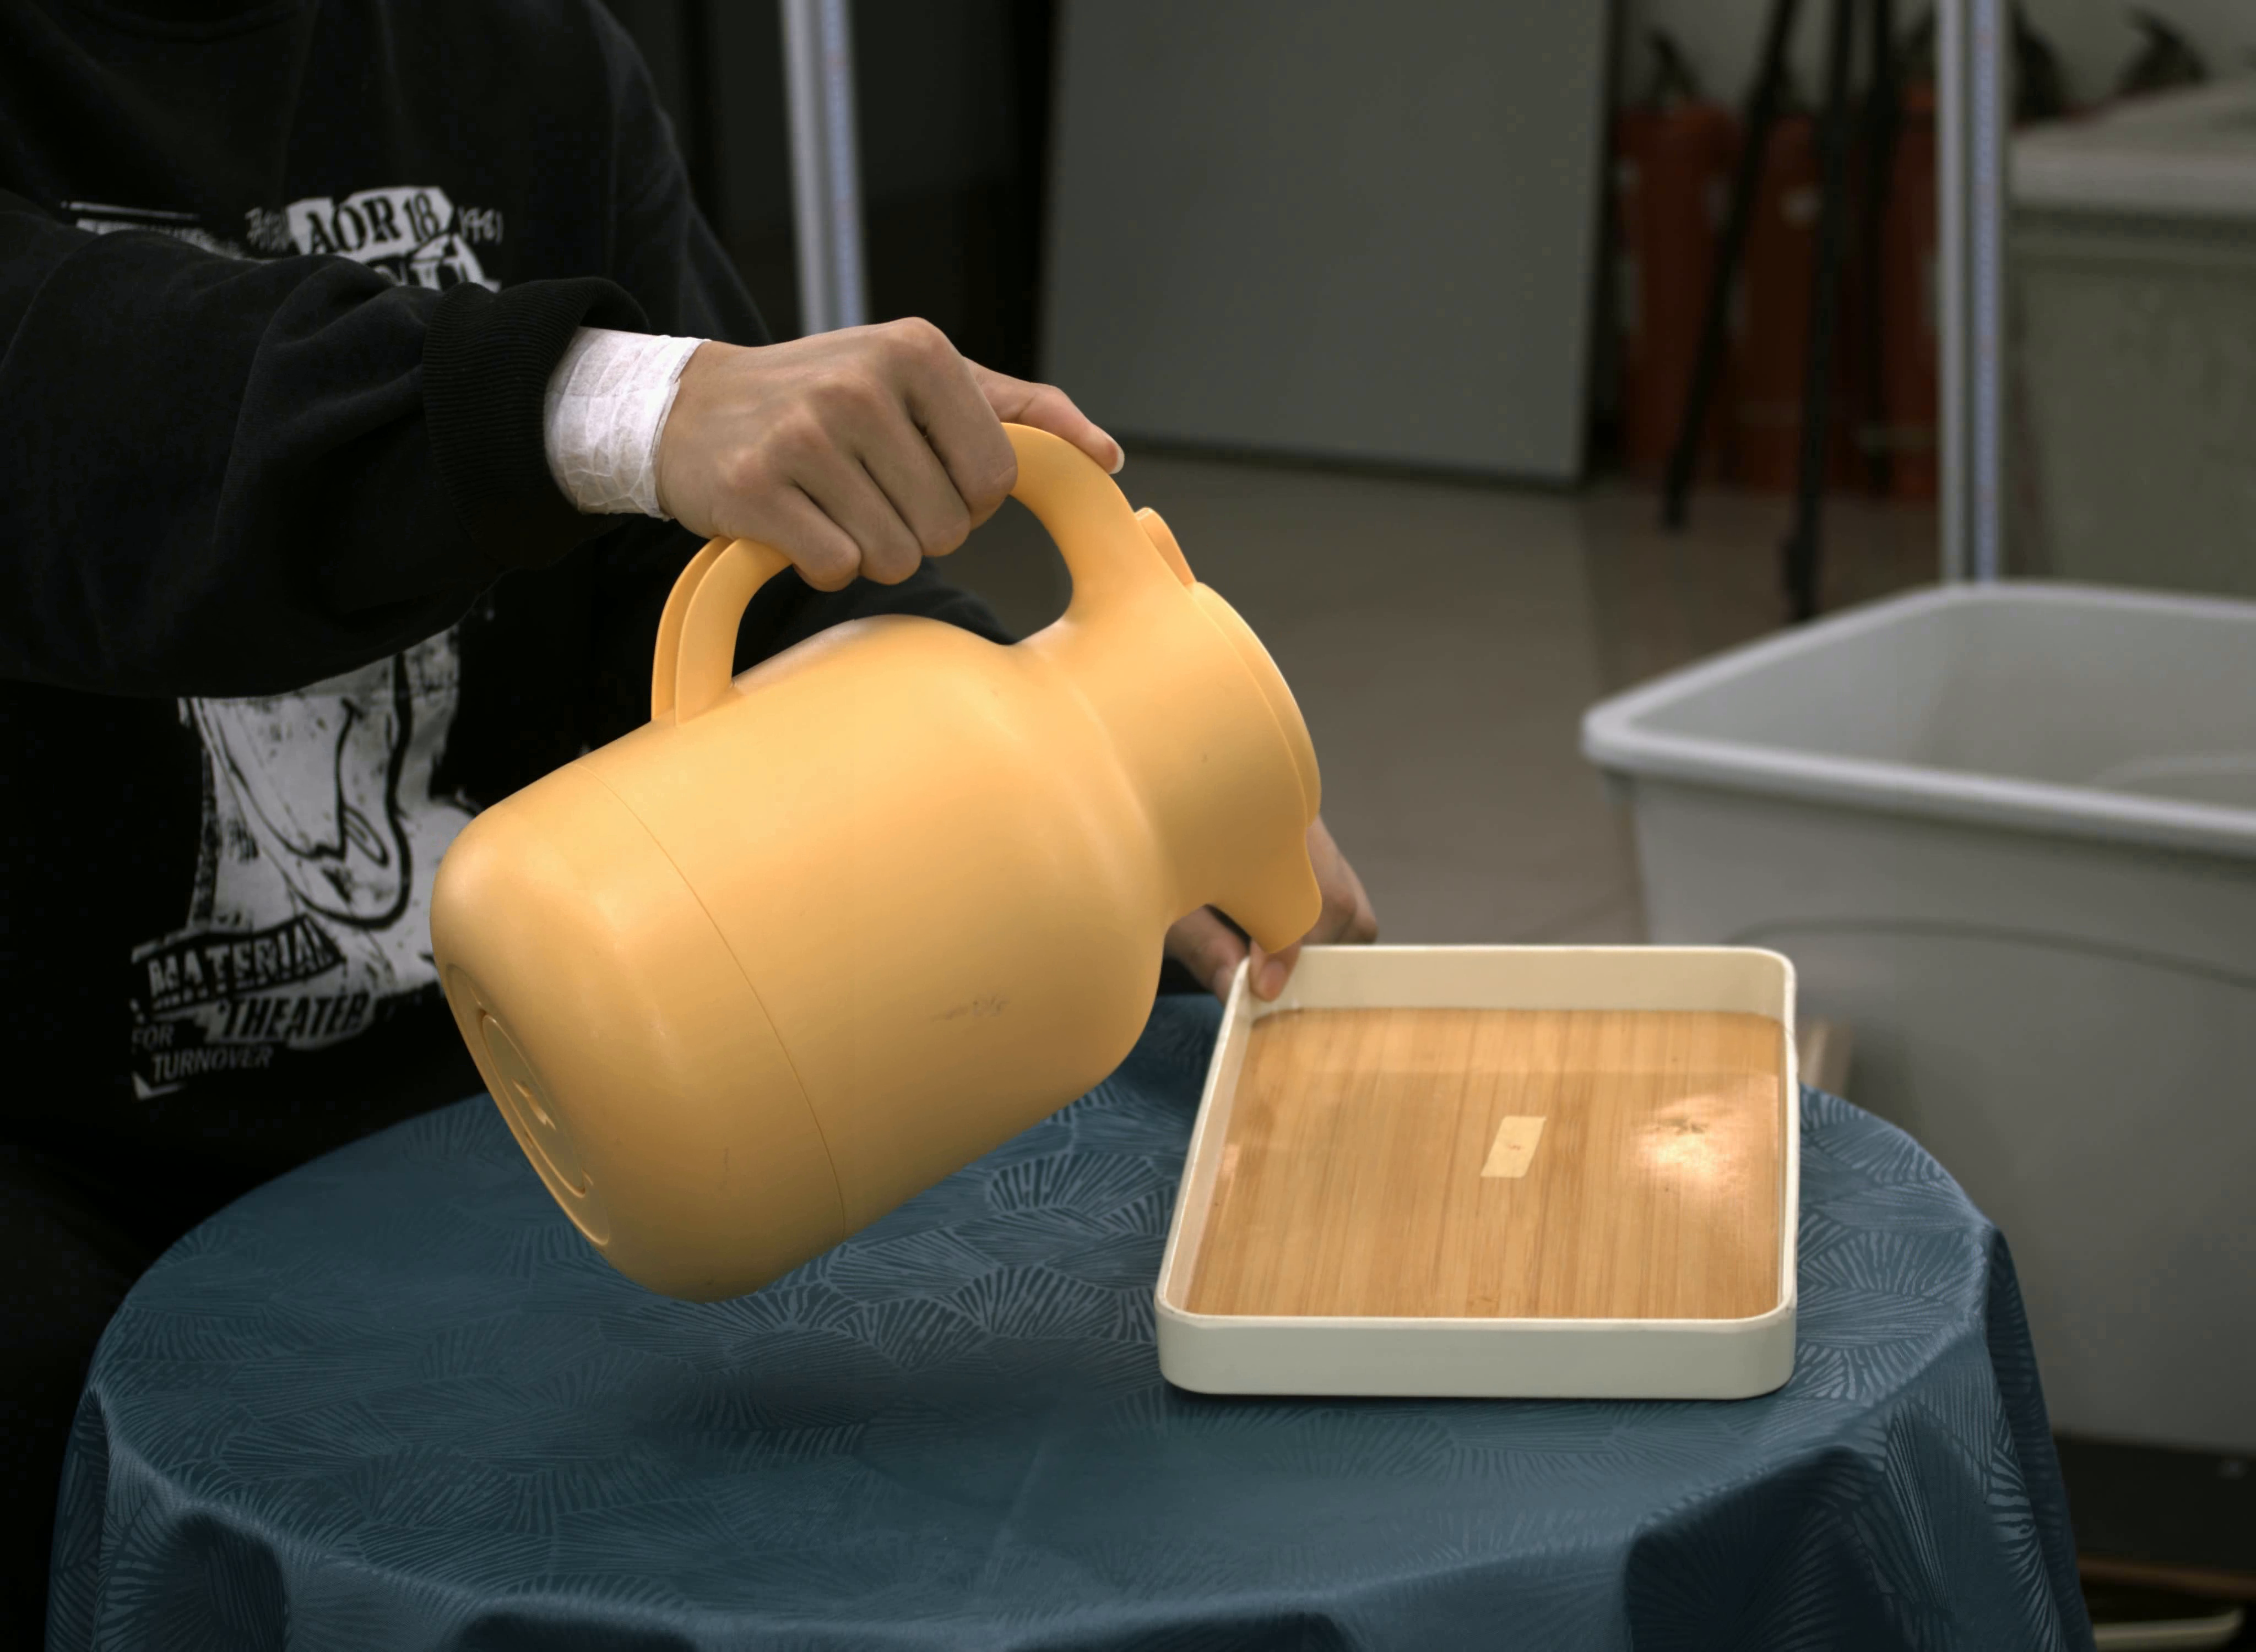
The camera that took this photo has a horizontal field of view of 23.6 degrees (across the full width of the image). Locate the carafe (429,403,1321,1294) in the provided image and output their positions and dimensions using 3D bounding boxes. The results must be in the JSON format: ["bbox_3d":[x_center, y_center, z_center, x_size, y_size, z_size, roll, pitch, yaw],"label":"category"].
[{"bbox_3d":[-0.076,-0.001,1.596,0.257,0.203,0.165,-28,9,-18],"label":"carafe"}]

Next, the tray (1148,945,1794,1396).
[{"bbox_3d":[0.114,0.103,1.691,0.190,0.027,0.300,-1,20,8],"label":"tray"}]
